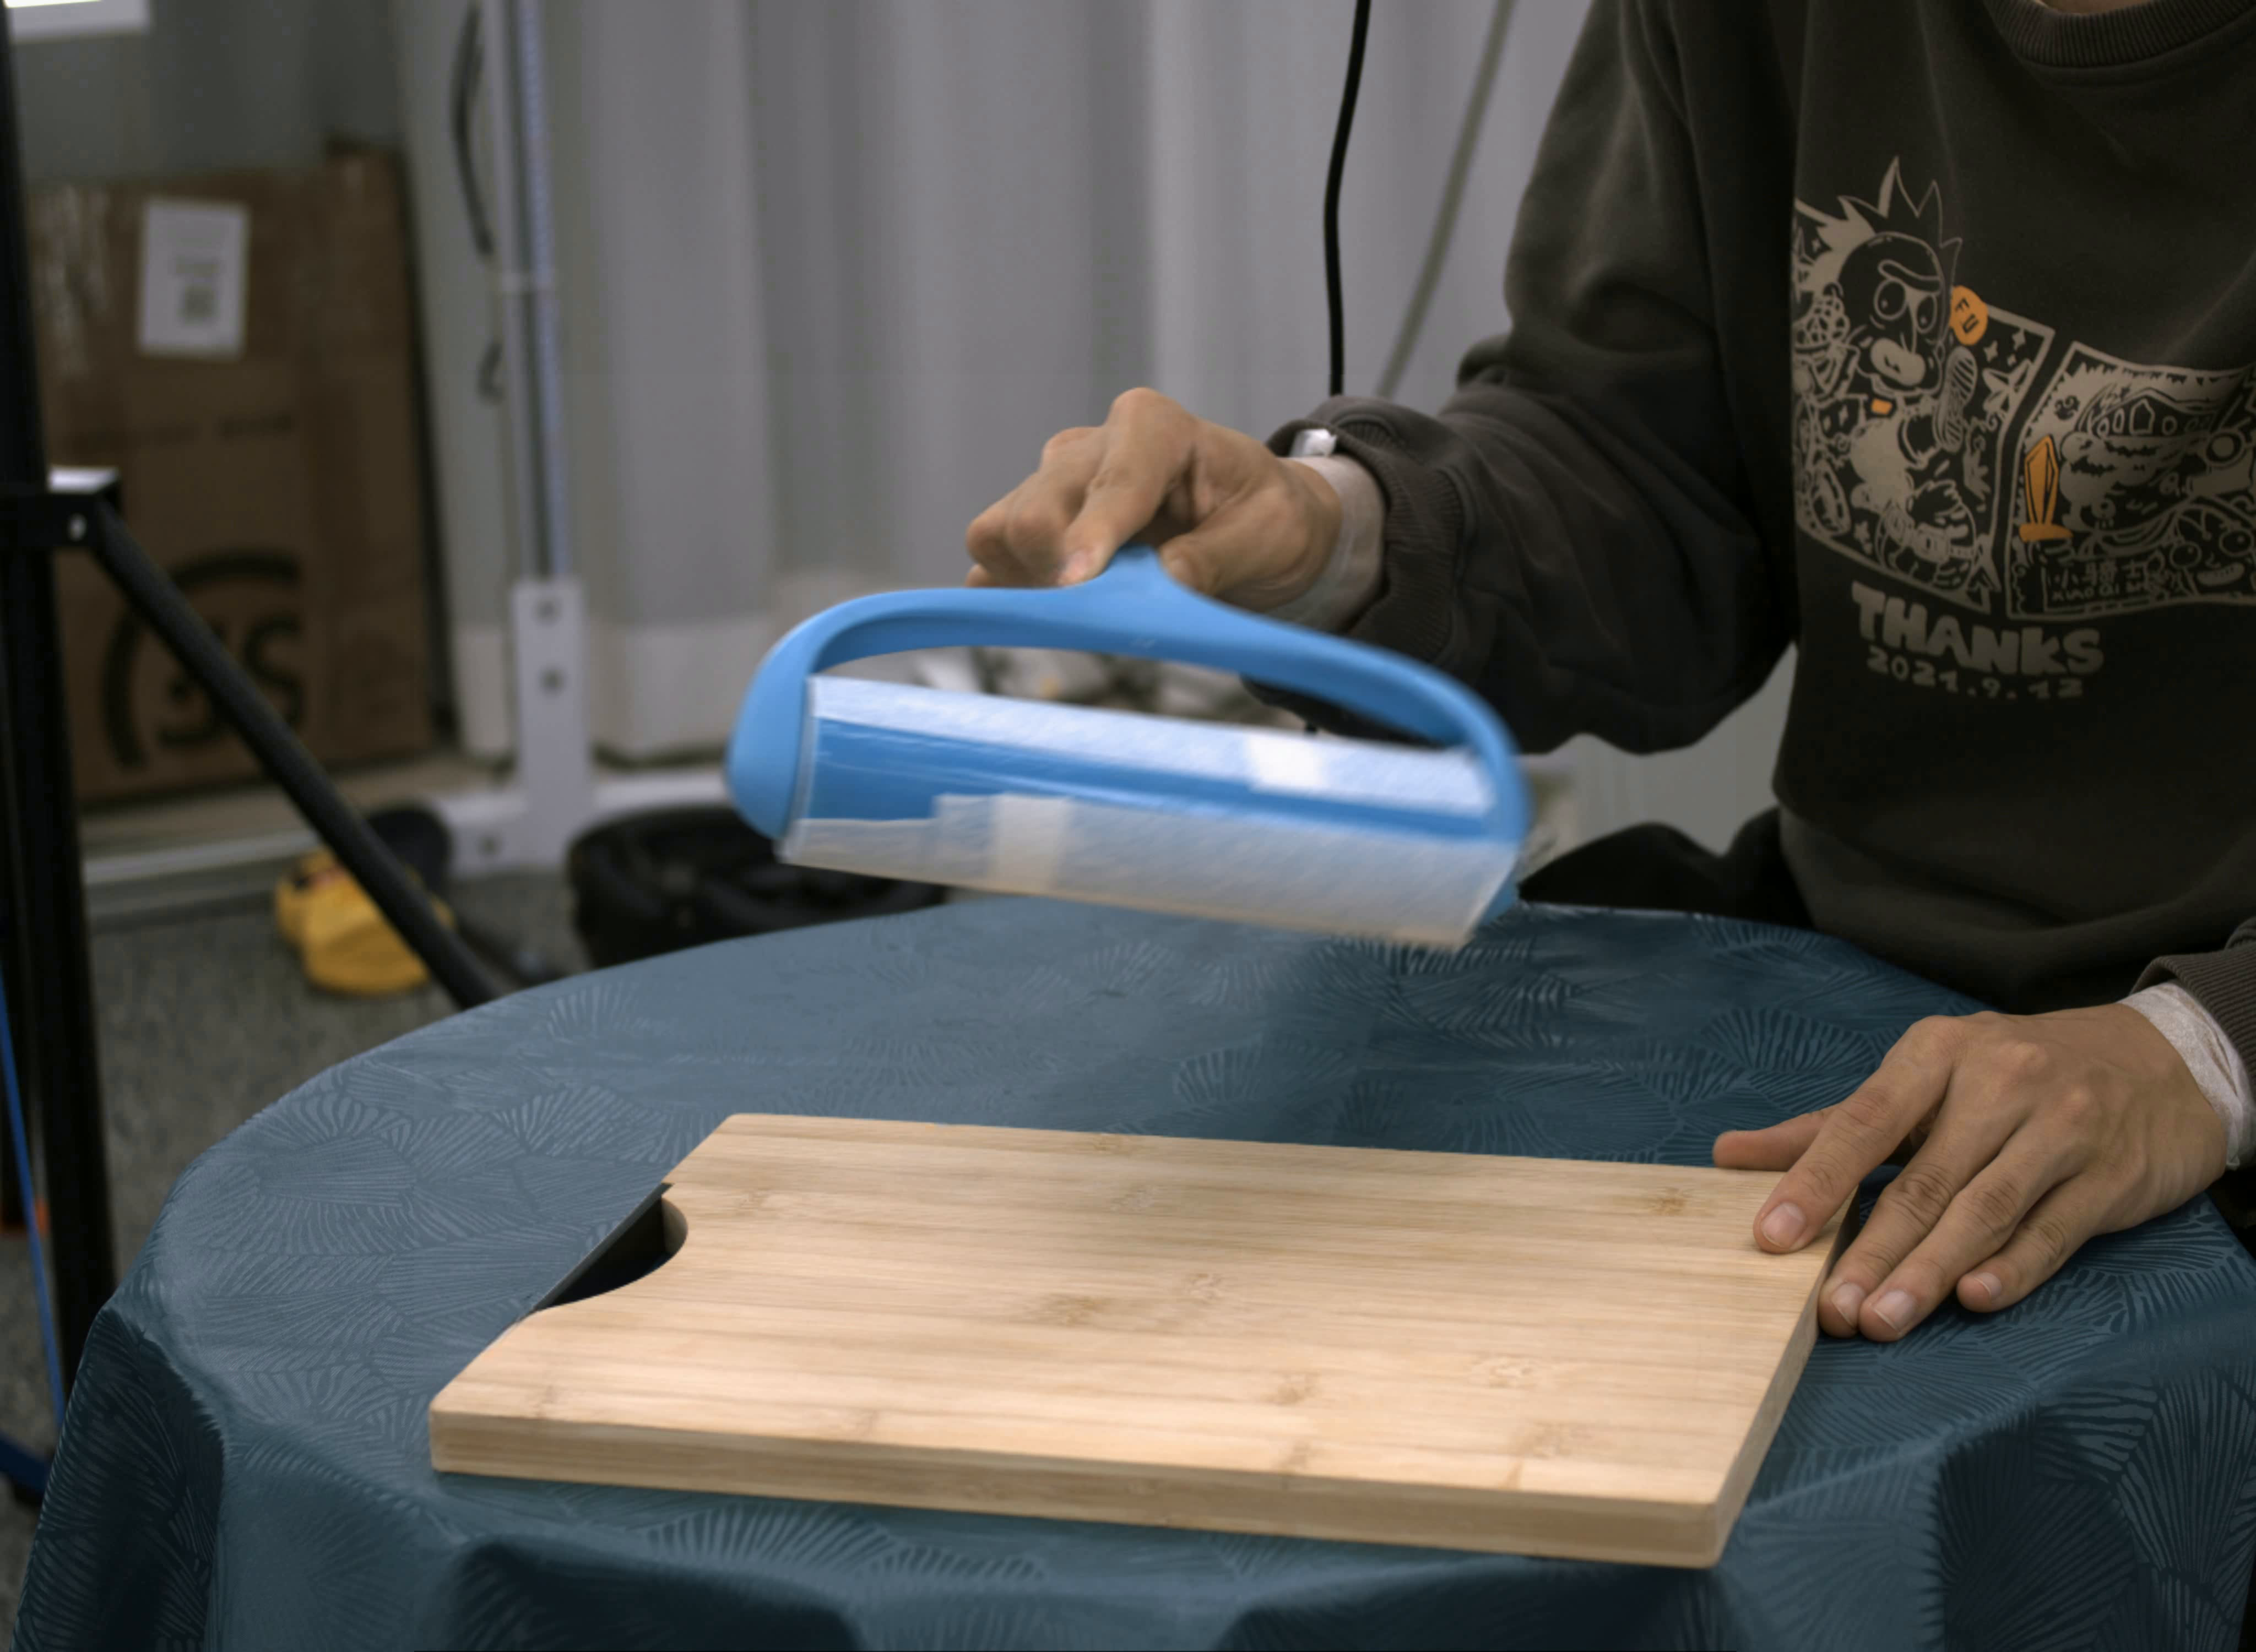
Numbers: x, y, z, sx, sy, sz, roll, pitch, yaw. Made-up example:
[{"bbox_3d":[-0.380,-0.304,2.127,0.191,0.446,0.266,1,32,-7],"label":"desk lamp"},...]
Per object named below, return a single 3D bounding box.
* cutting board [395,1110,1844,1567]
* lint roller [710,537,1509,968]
[{"bbox_3d":[0.006,0.134,1.441,0.352,0.023,0.248,2,16,16],"label":"cutting board"},{"bbox_3d":[-0.008,-0.042,1.529,0.226,0.068,0.182,7,40,-9],"label":"lint roller"}]
